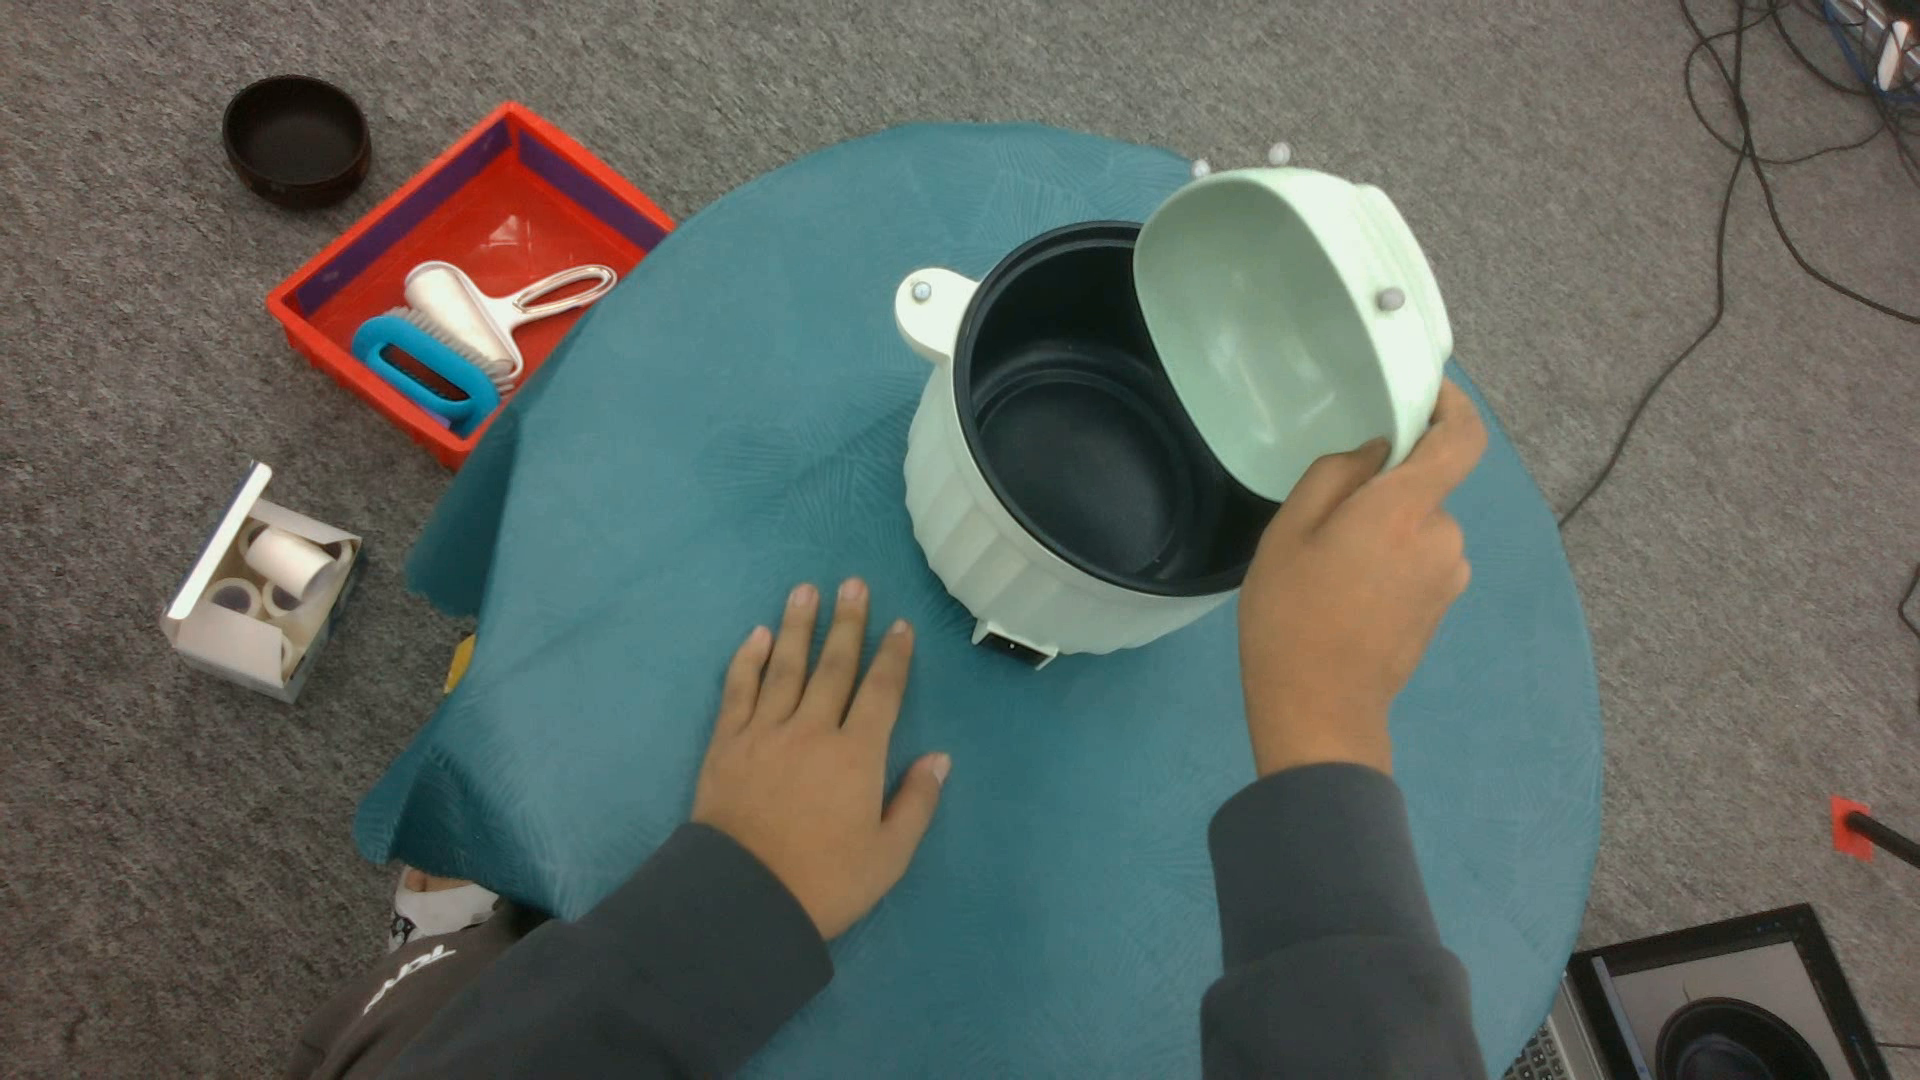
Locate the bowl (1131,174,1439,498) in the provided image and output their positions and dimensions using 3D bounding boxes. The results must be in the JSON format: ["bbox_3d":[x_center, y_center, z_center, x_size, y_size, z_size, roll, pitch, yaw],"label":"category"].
[{"bbox_3d":[0.142,-0.092,0.572,0.059,0.151,0.151,-31,79,-18],"label":"bowl"}]

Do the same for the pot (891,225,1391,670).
[{"bbox_3d":[0.069,-0.044,0.671,0.240,0.142,0.191,19,67,-10],"label":"pot"}]
